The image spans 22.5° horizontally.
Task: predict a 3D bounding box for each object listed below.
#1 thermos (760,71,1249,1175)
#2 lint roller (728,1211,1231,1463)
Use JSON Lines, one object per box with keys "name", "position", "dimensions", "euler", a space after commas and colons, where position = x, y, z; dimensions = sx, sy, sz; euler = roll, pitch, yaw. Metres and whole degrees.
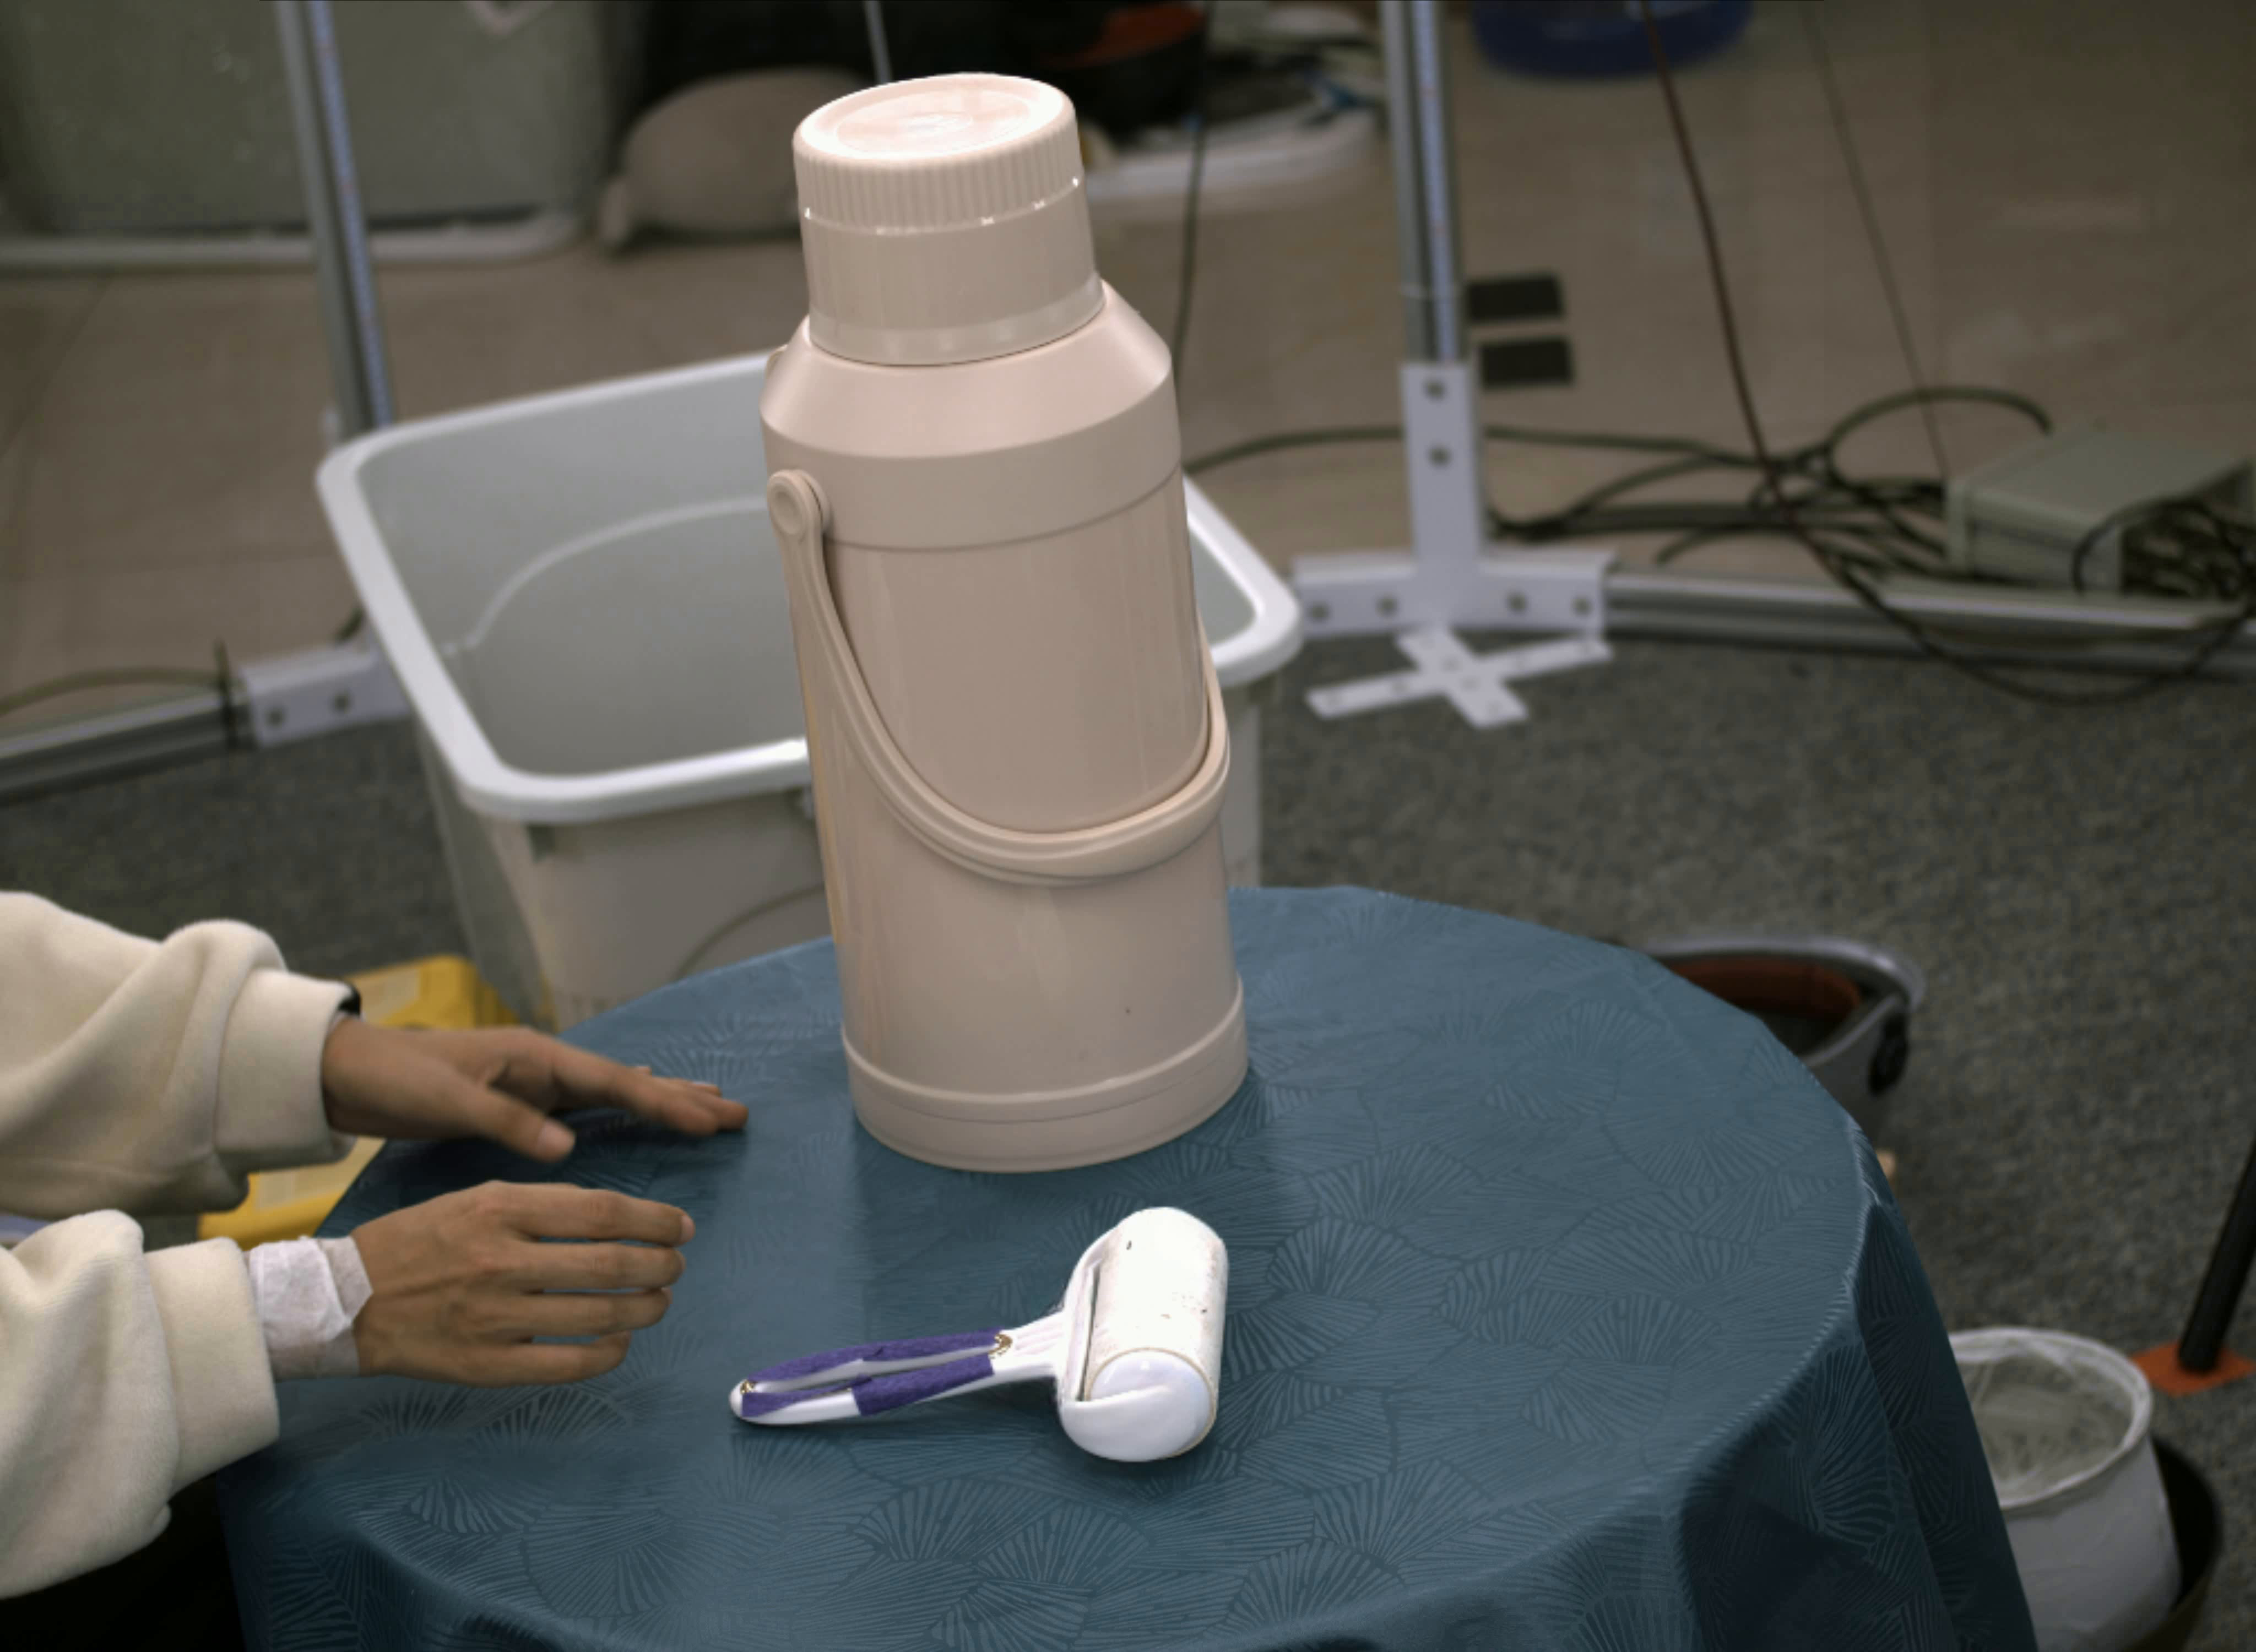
{"name": "thermos", "position": [-0.058, -0.082, 2.161], "dimensions": [0.174, 0.413, 0.205], "euler": [-25, 31, -33]}
{"name": "lint roller", "position": [-0.054, 0.181, 2.013], "dimensions": [0.180, 0.051, 0.131], "euler": [-1, 27, 7]}
